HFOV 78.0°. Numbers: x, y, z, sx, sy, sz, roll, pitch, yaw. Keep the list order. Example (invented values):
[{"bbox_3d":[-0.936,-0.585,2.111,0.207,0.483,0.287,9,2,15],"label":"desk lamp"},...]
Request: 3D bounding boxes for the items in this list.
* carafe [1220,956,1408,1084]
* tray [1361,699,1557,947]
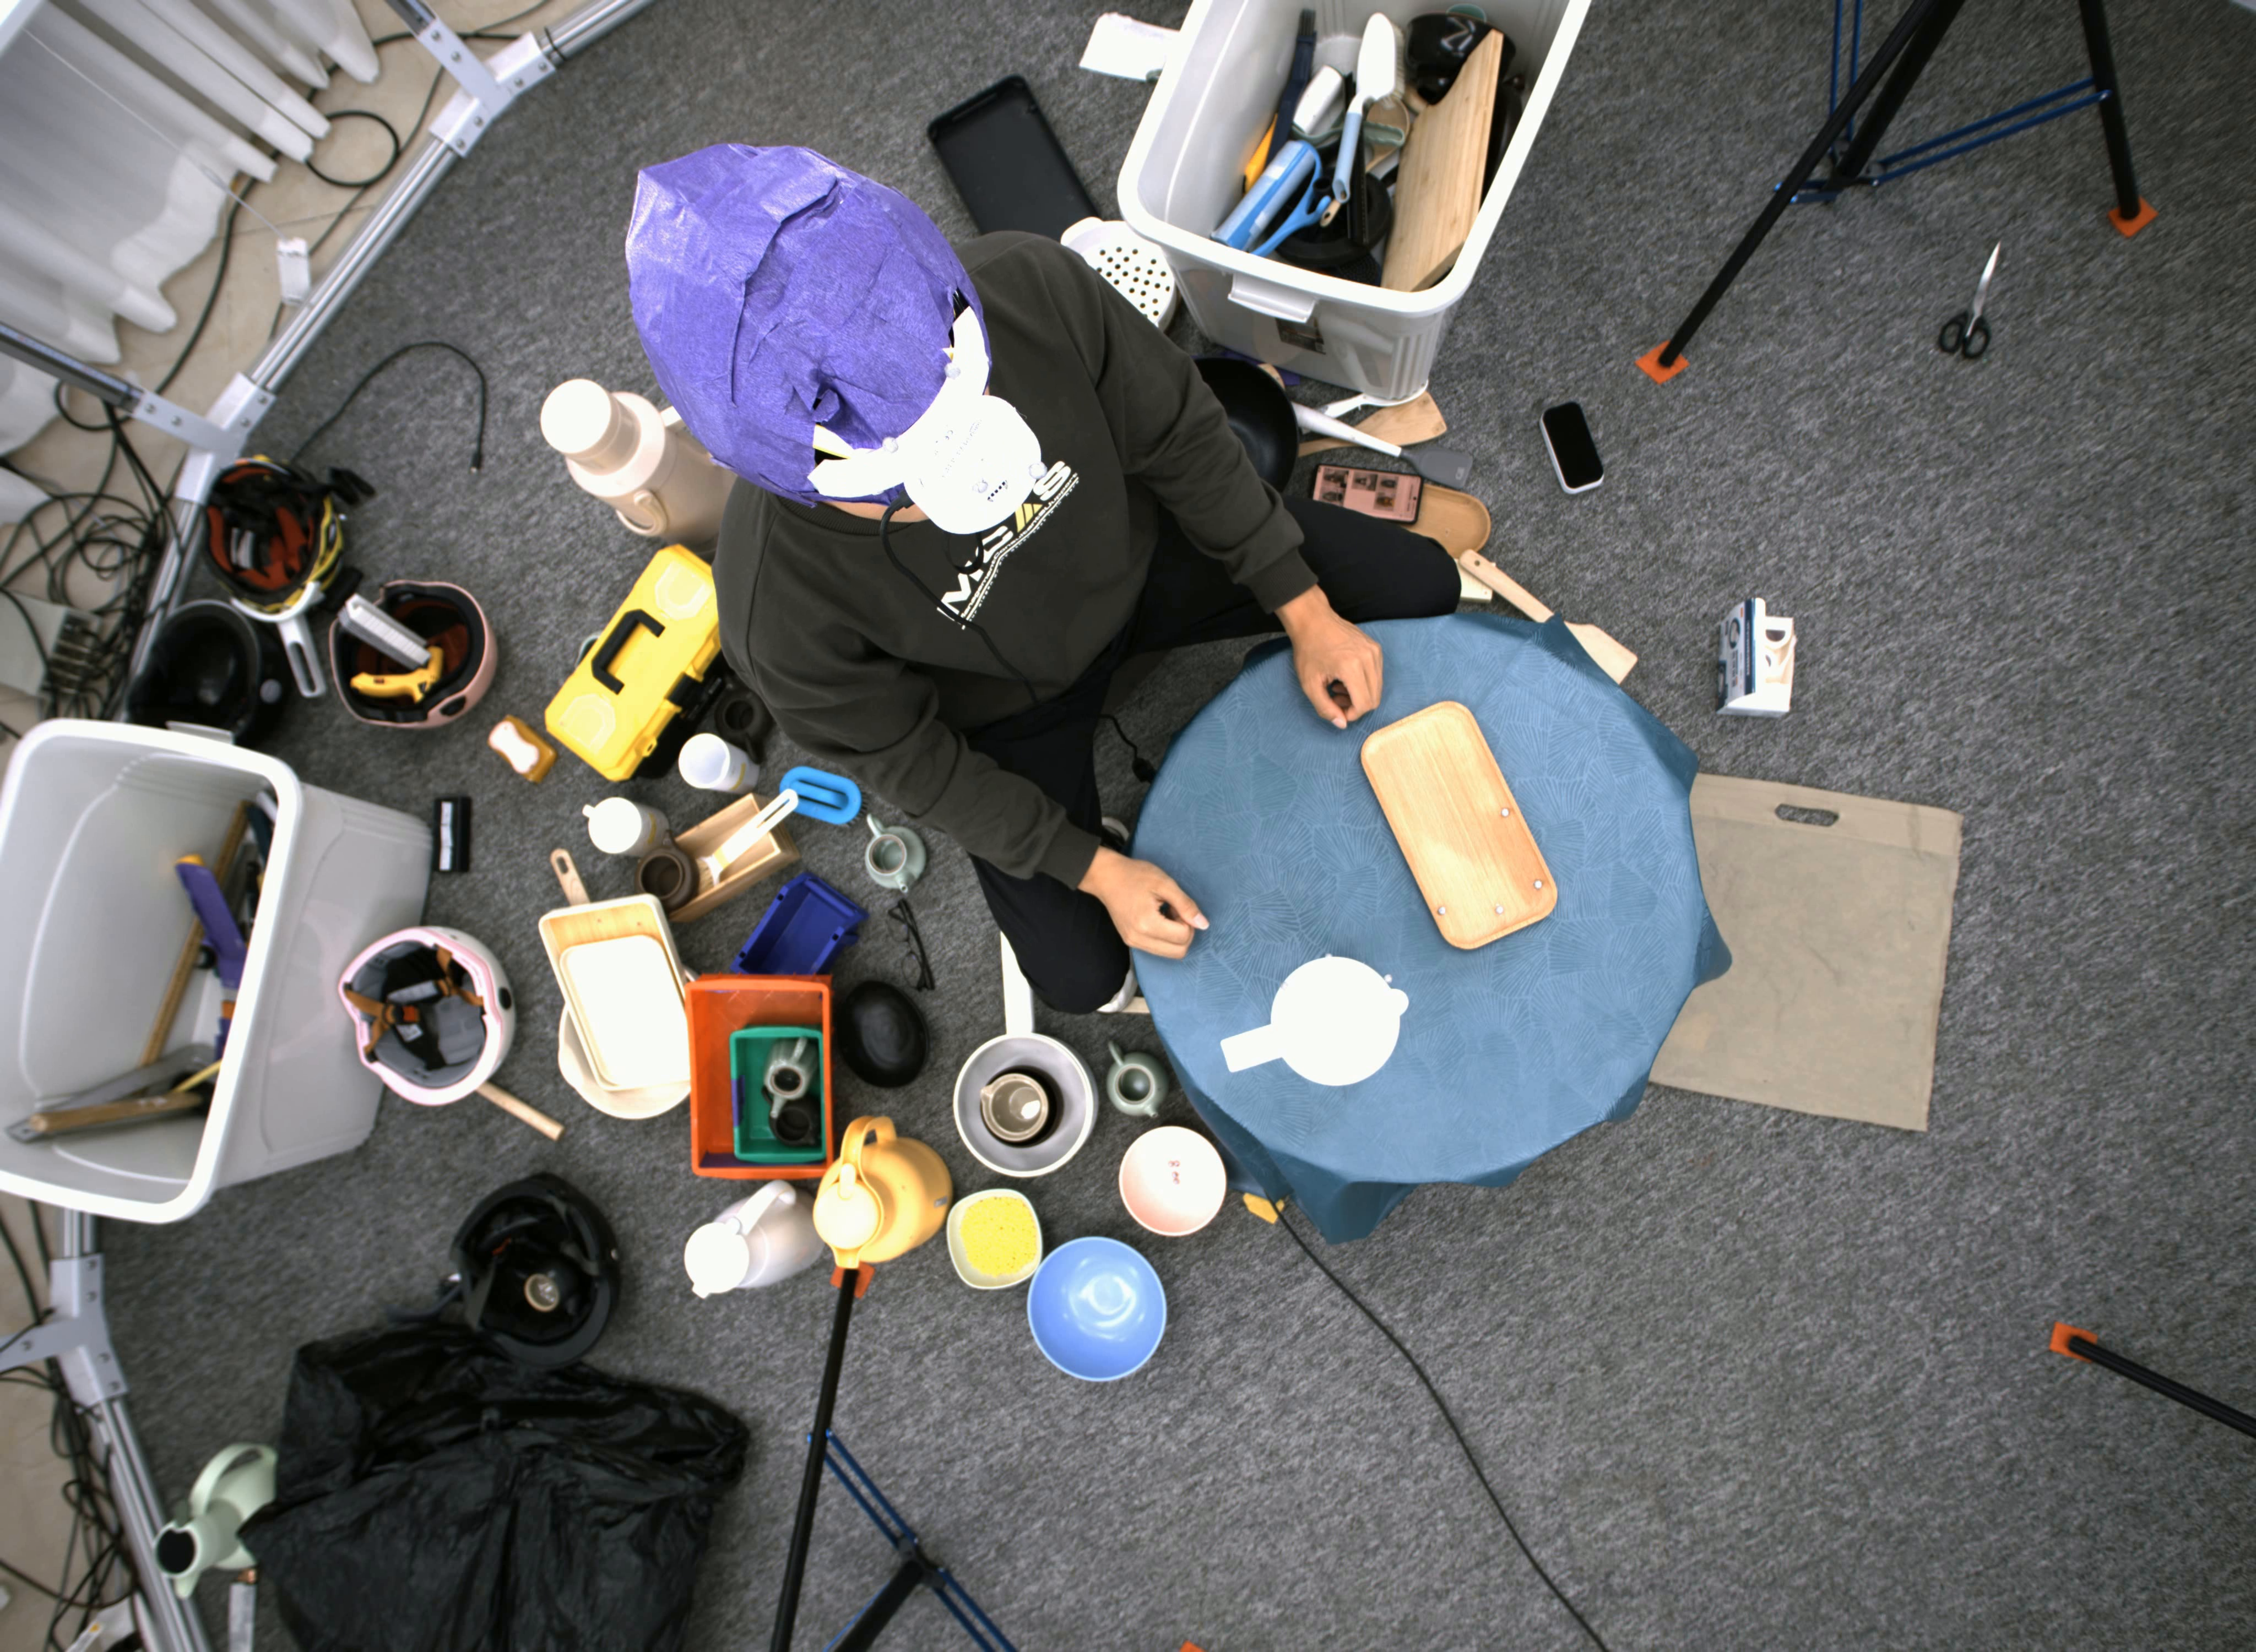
[{"bbox_3d":[0.183,0.192,1.334,0.174,0.269,0.123,-19,83,8],"label":"carafe"},{"bbox_3d":[0.345,-0.005,1.442,0.131,0.023,0.249,-23,82,6],"label":"tray"}]
